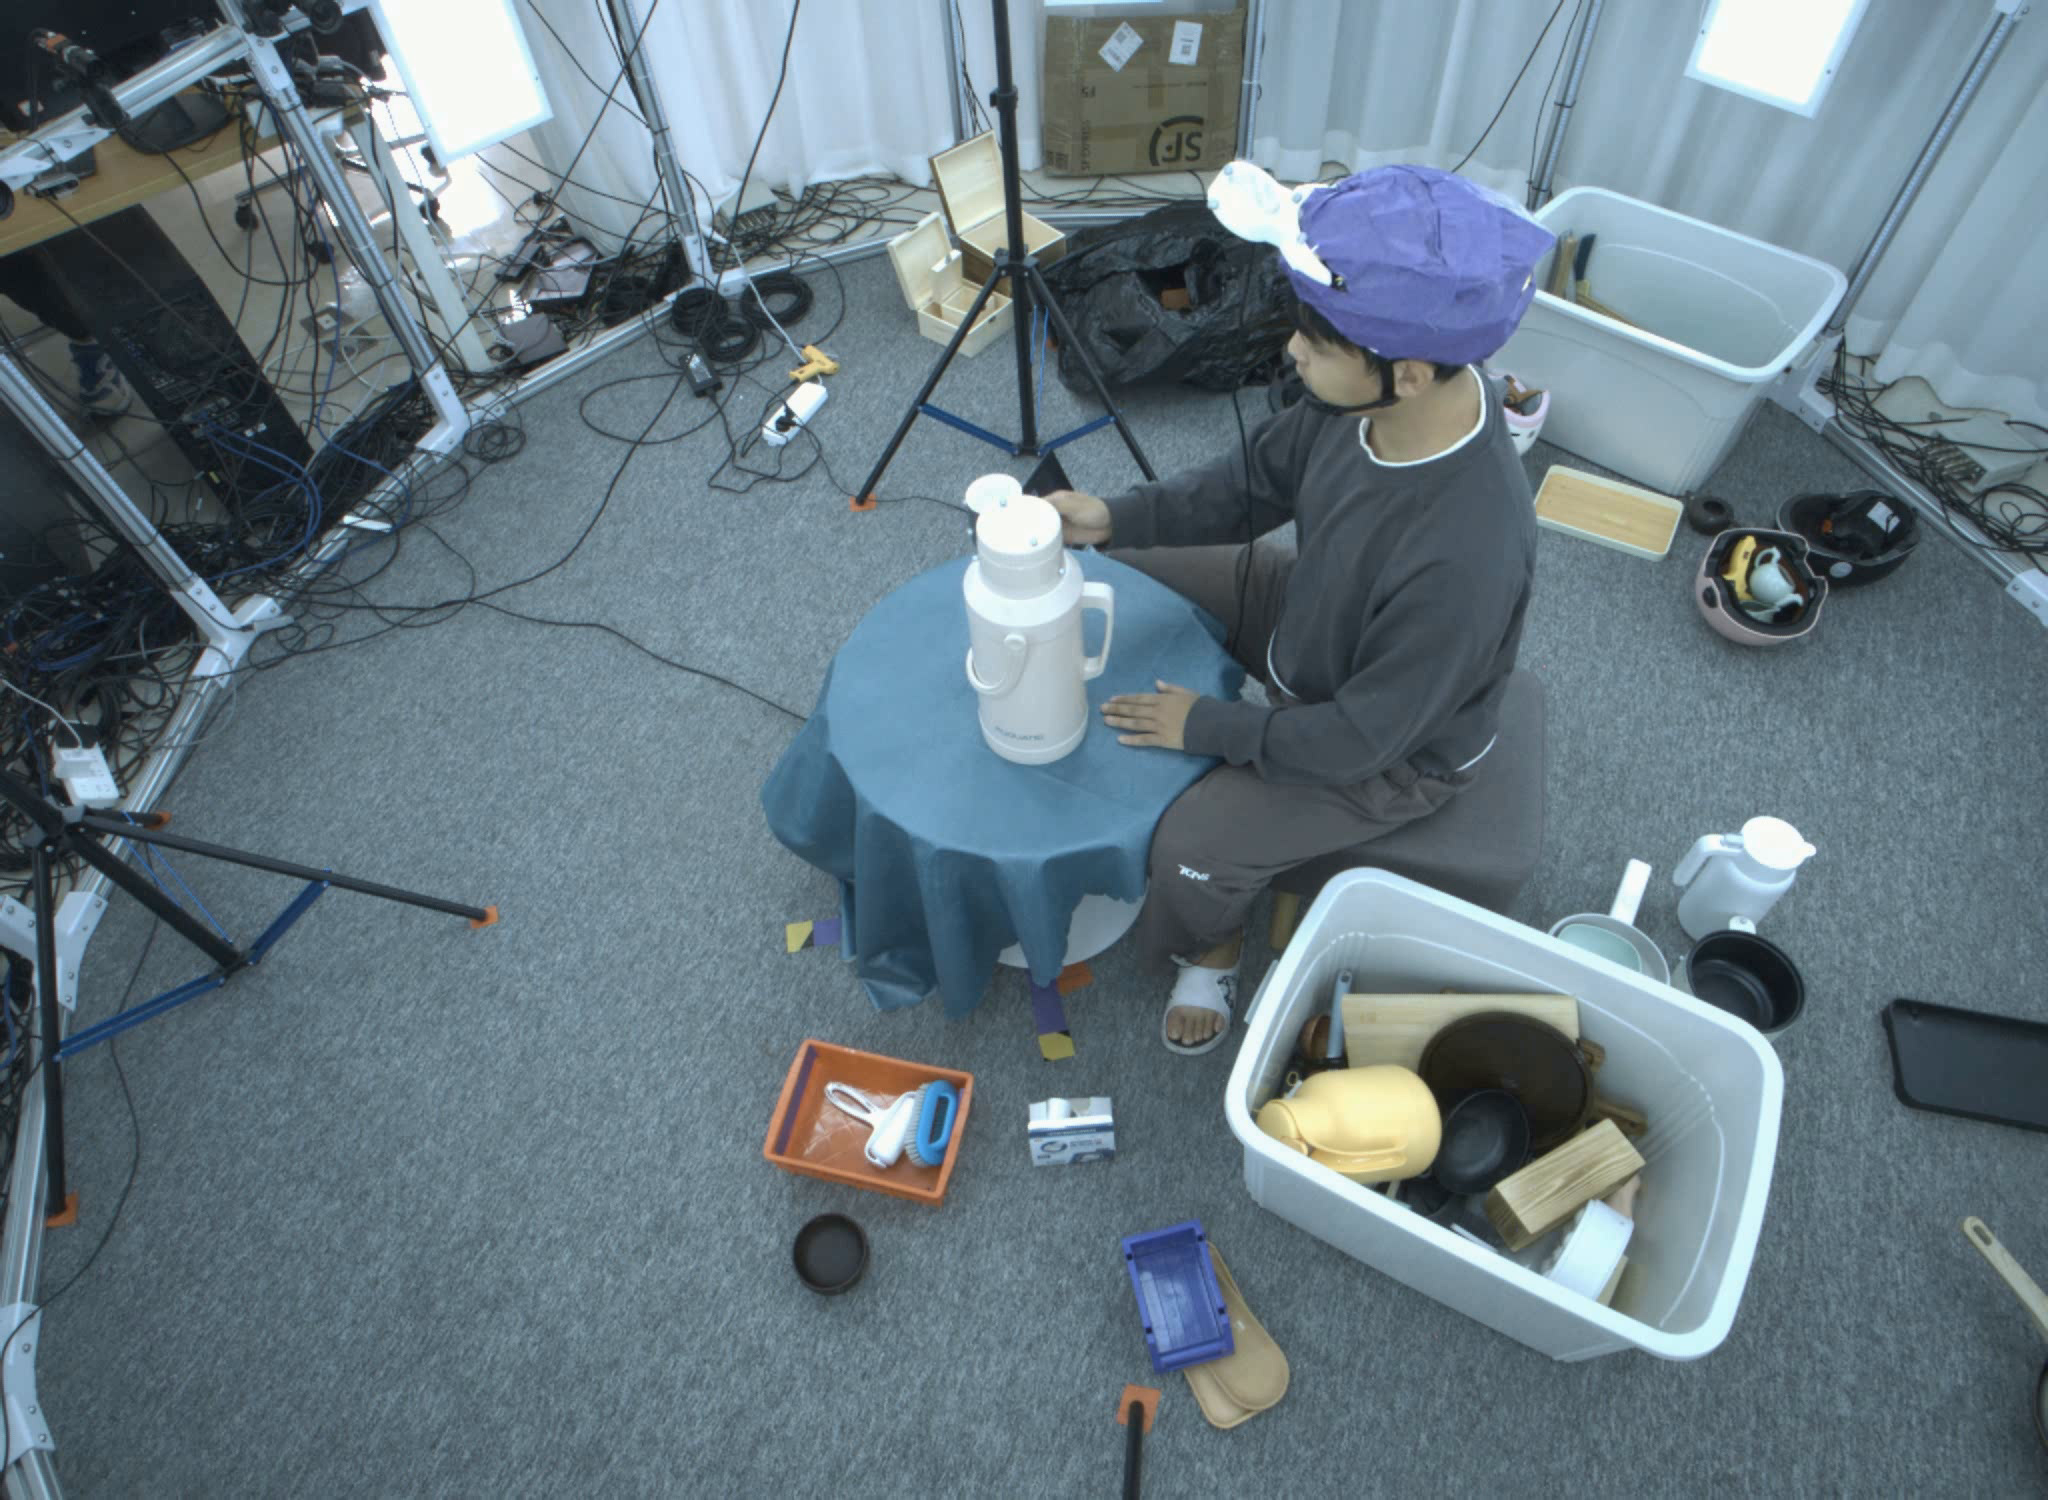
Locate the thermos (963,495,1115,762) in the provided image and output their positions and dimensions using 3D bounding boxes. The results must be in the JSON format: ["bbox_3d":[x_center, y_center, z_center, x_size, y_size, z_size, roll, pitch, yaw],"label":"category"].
[{"bbox_3d":[0.018,-0.158,1.655,0.206,0.411,0.174,3,55,6],"label":"thermos"}]

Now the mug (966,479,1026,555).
[{"bbox_3d":[-0.022,-0.332,1.764,0.122,0.091,0.093,7,58,14],"label":"mug"}]
